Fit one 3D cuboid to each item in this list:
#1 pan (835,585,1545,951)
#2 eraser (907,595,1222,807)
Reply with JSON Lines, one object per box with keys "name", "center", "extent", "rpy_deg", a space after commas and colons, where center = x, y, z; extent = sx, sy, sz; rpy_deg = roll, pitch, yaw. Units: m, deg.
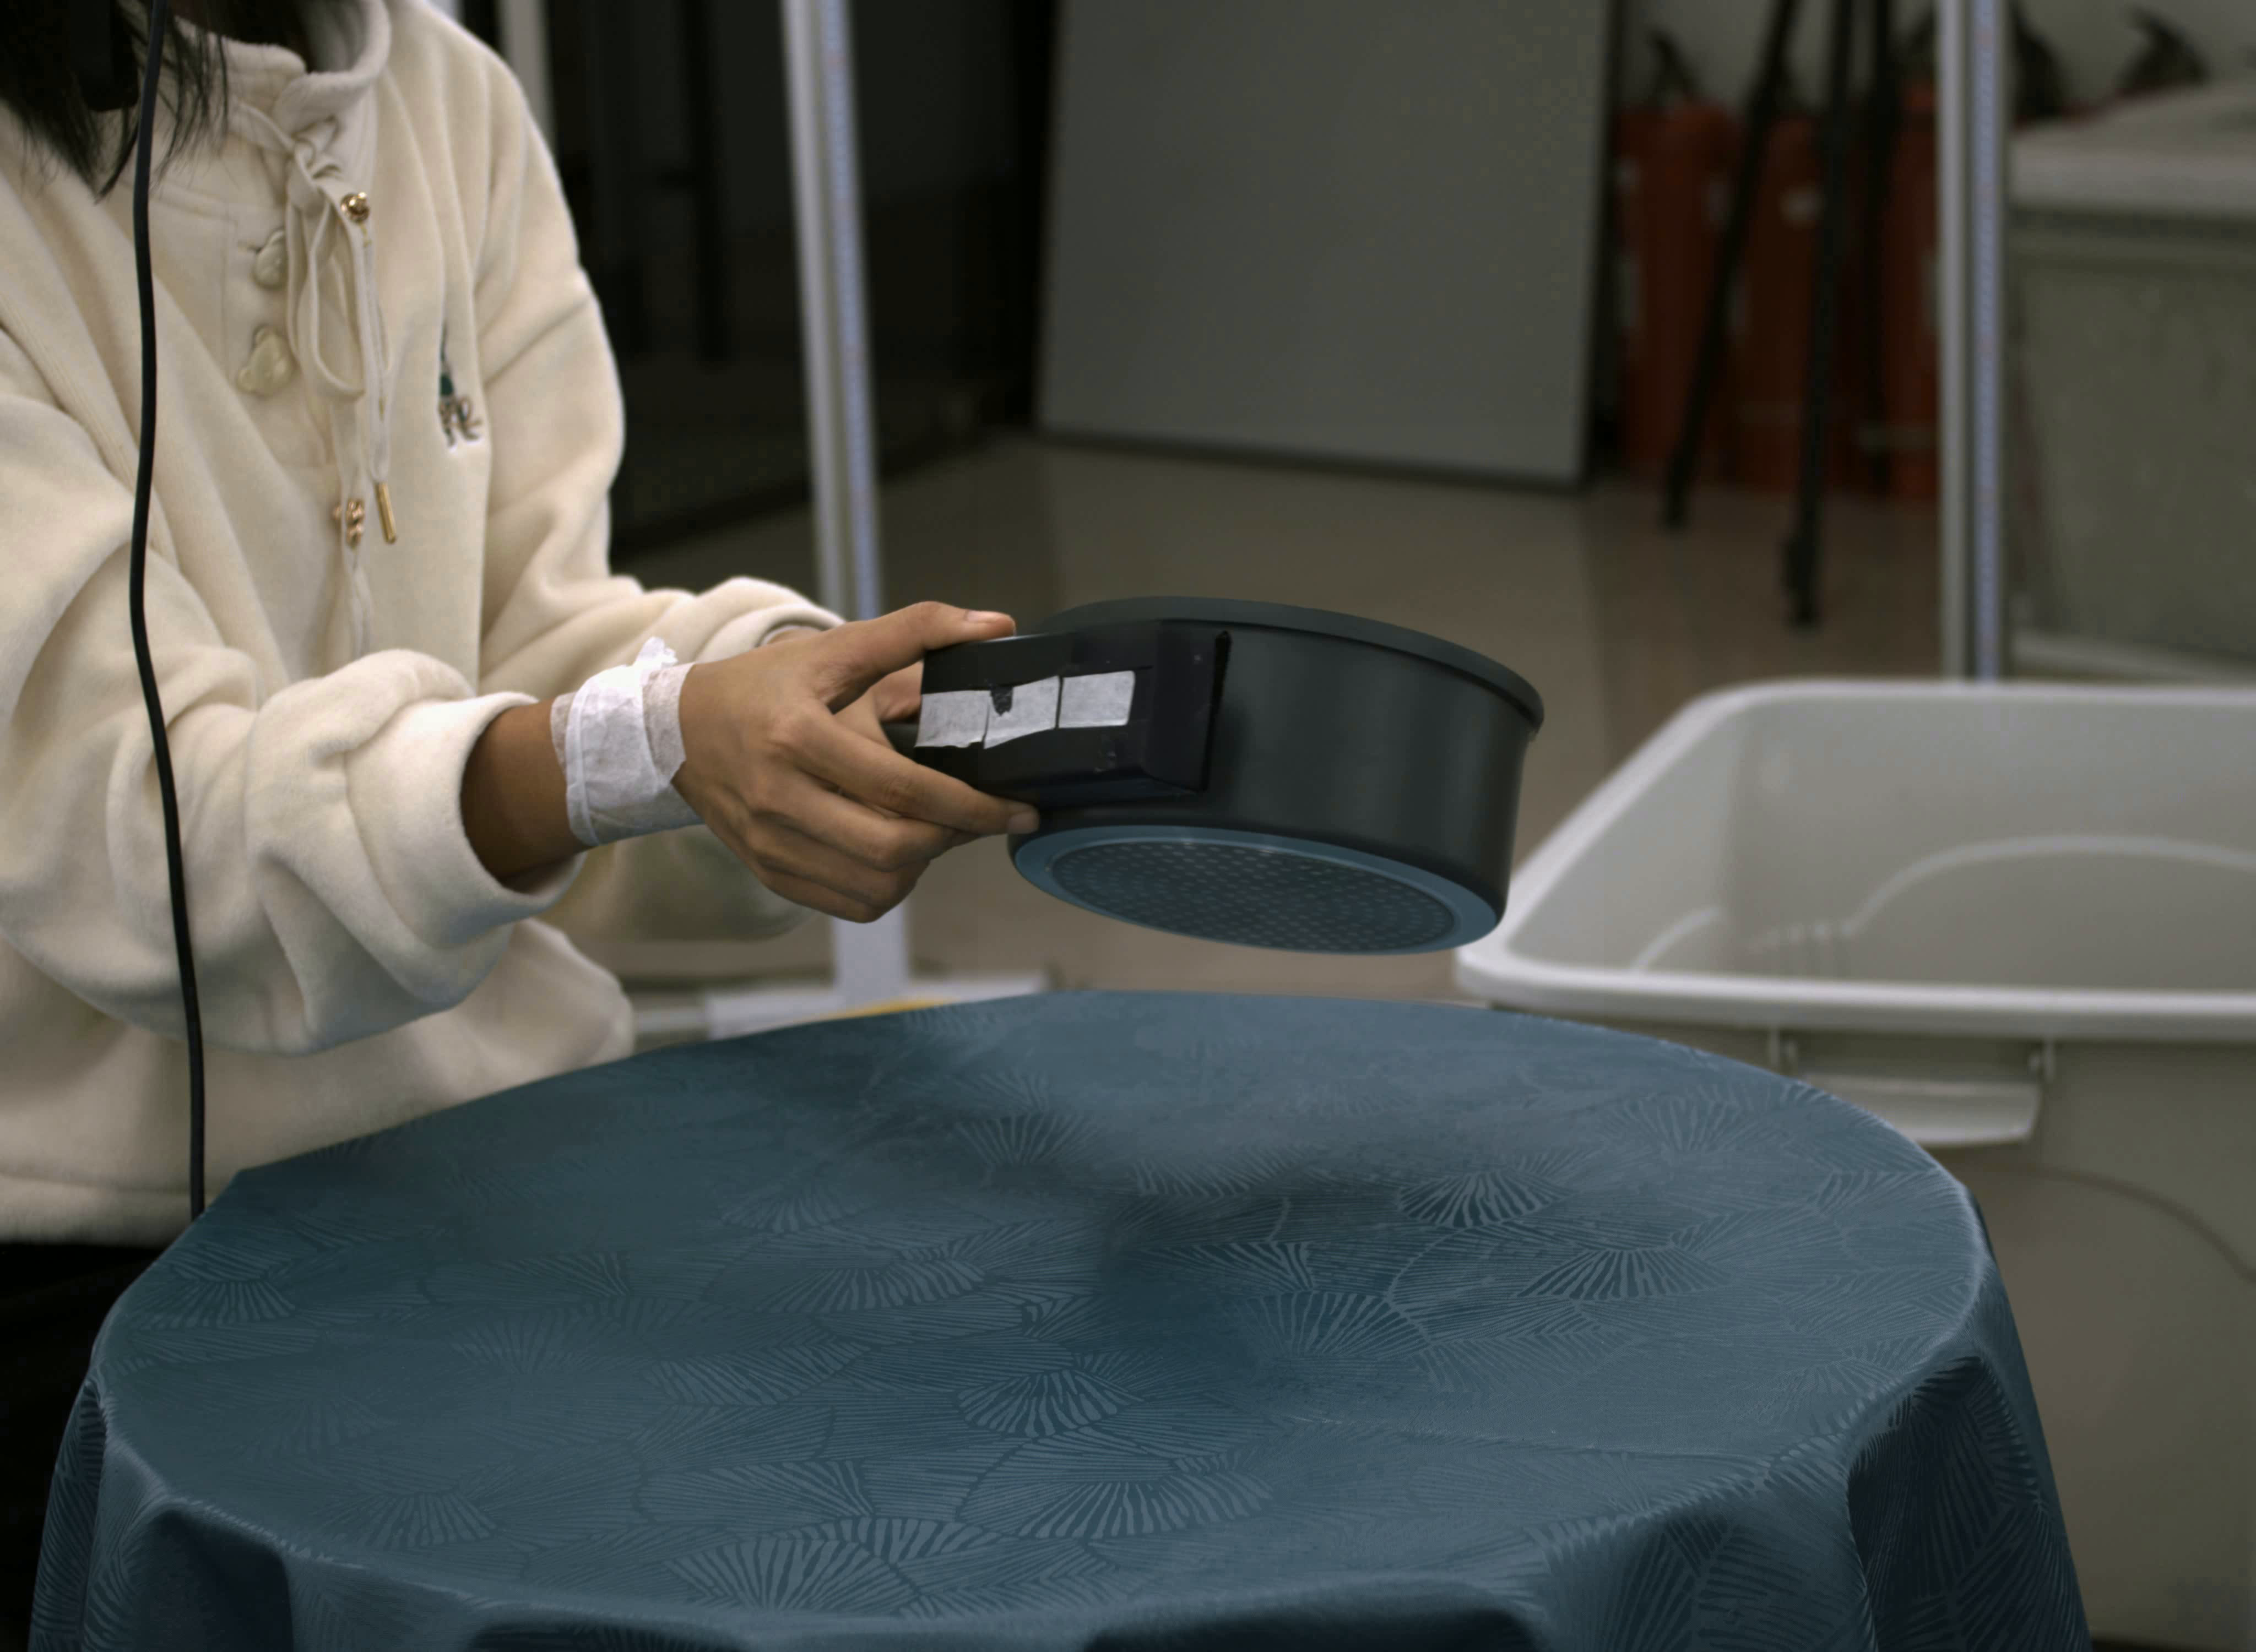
{"name": "pan", "center": [-0.002, -0.009, 1.798], "extent": [0.168, 0.087, 0.332], "rpy_deg": [19, -17, -34]}
{"name": "eraser", "center": [-0.020, -0.038, 1.669], "extent": [0.030, 0.054, 0.127], "rpy_deg": [15, -13, -34]}
